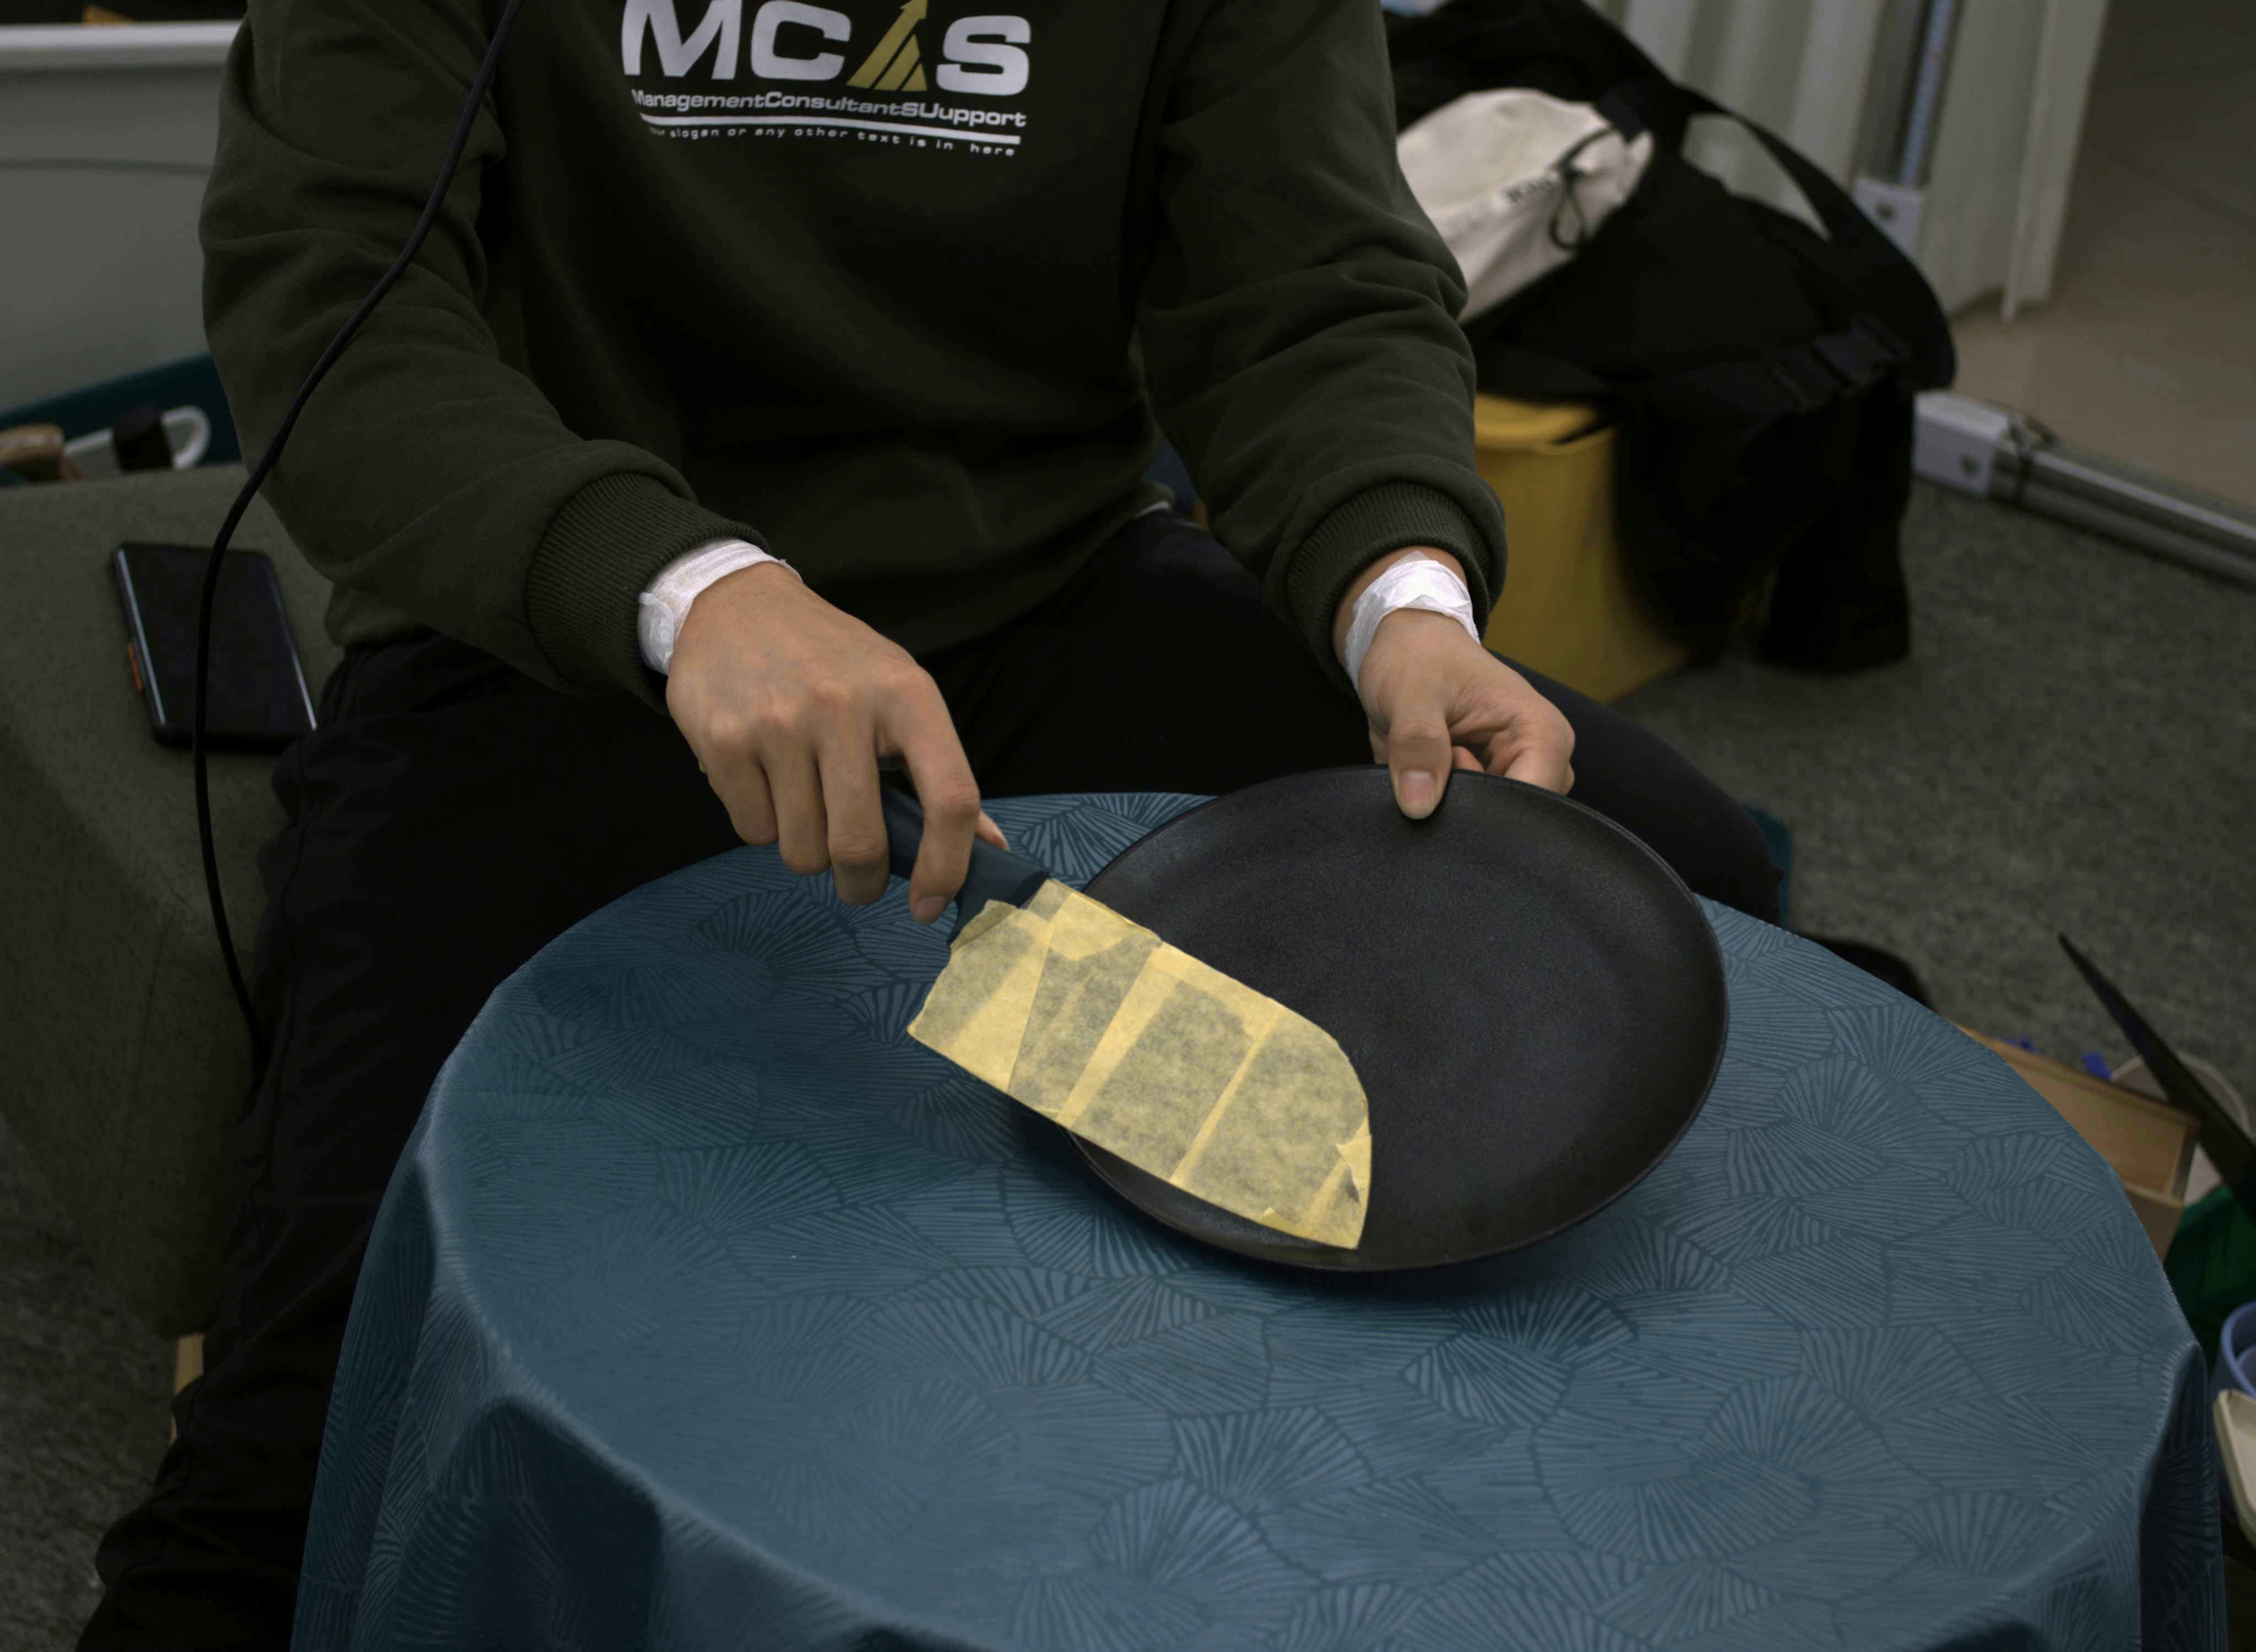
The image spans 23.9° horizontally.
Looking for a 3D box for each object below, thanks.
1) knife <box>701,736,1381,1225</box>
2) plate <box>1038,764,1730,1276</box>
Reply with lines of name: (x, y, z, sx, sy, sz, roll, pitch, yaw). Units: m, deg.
knife: (-0.036, 0.051, 1.812, 0.291, 0.027, 0.081, 31, 76, 19)
plate: (0.086, 0.069, 1.842, 0.244, 0.023, 0.246, -4, 44, 3)
